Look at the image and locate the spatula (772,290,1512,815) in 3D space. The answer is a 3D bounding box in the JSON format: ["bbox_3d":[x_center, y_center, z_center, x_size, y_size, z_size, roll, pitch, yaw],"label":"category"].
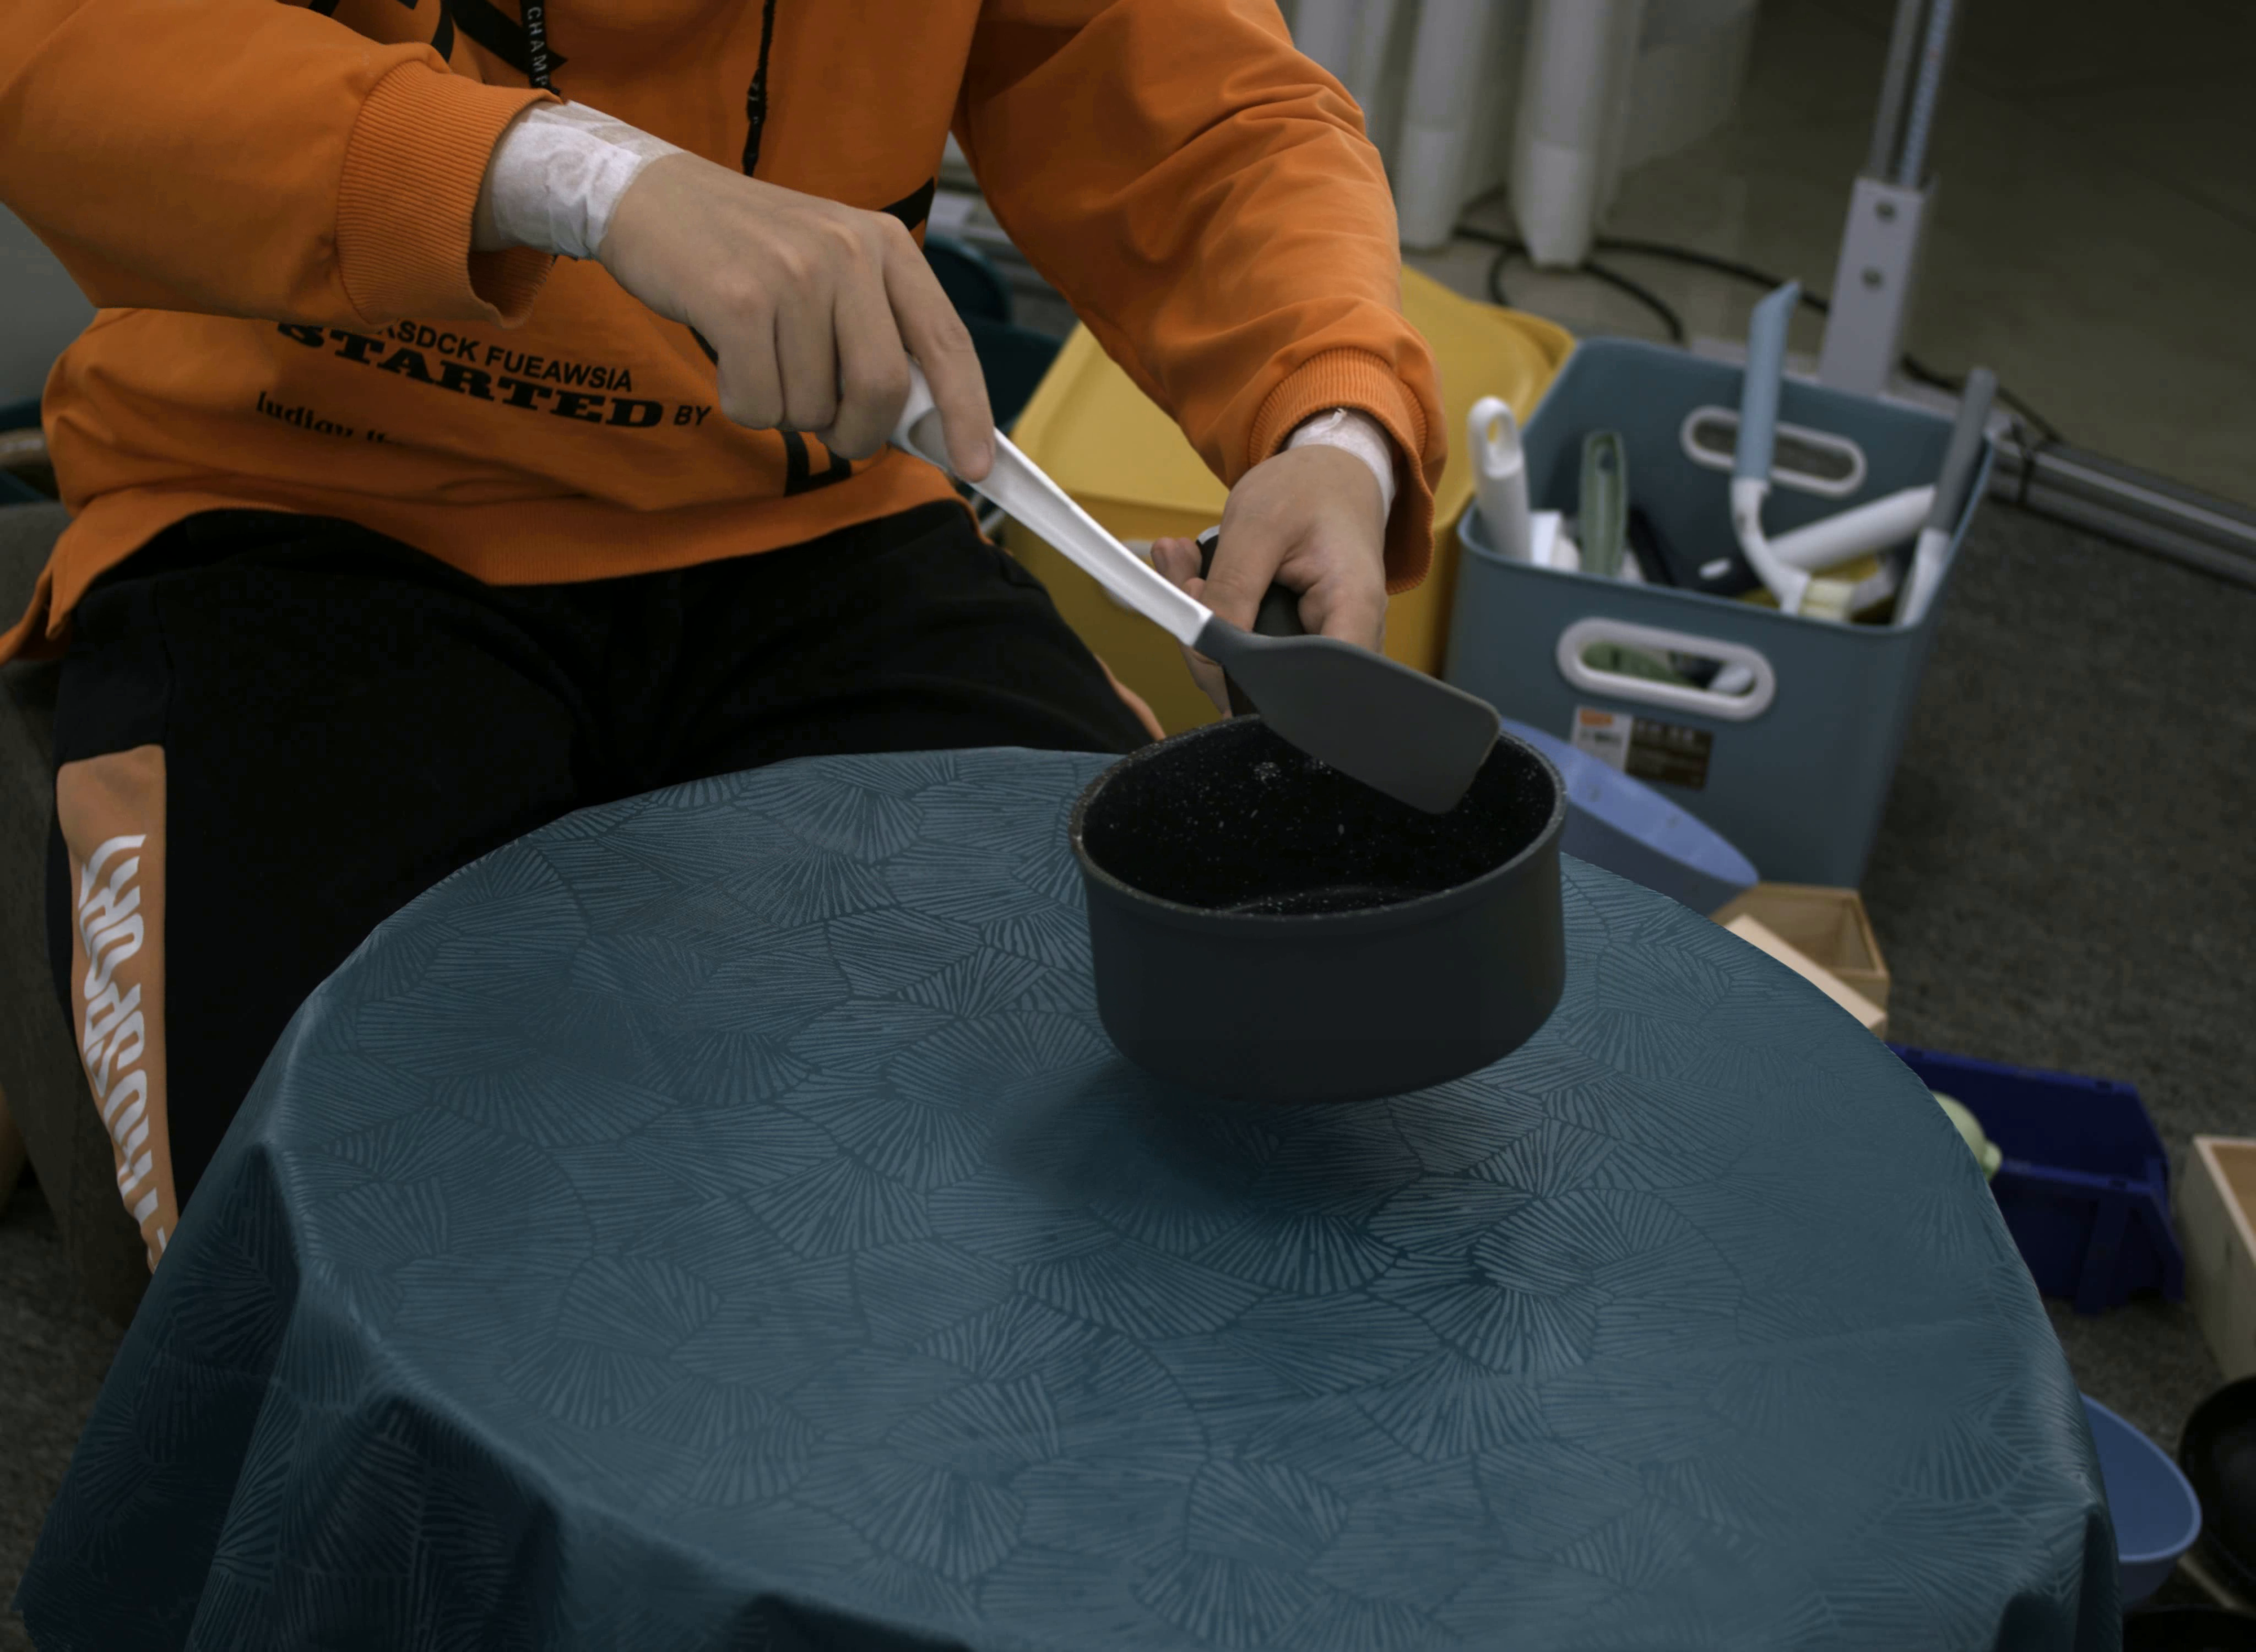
[{"bbox_3d":[0.002,-0.094,1.845,0.288,0.058,0.032,34,34,7],"label":"spatula"}]

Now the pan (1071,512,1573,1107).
[{"bbox_3d":[0.064,-0.010,1.898,0.171,0.086,0.331,-5,26,-1],"label":"pan"}]
